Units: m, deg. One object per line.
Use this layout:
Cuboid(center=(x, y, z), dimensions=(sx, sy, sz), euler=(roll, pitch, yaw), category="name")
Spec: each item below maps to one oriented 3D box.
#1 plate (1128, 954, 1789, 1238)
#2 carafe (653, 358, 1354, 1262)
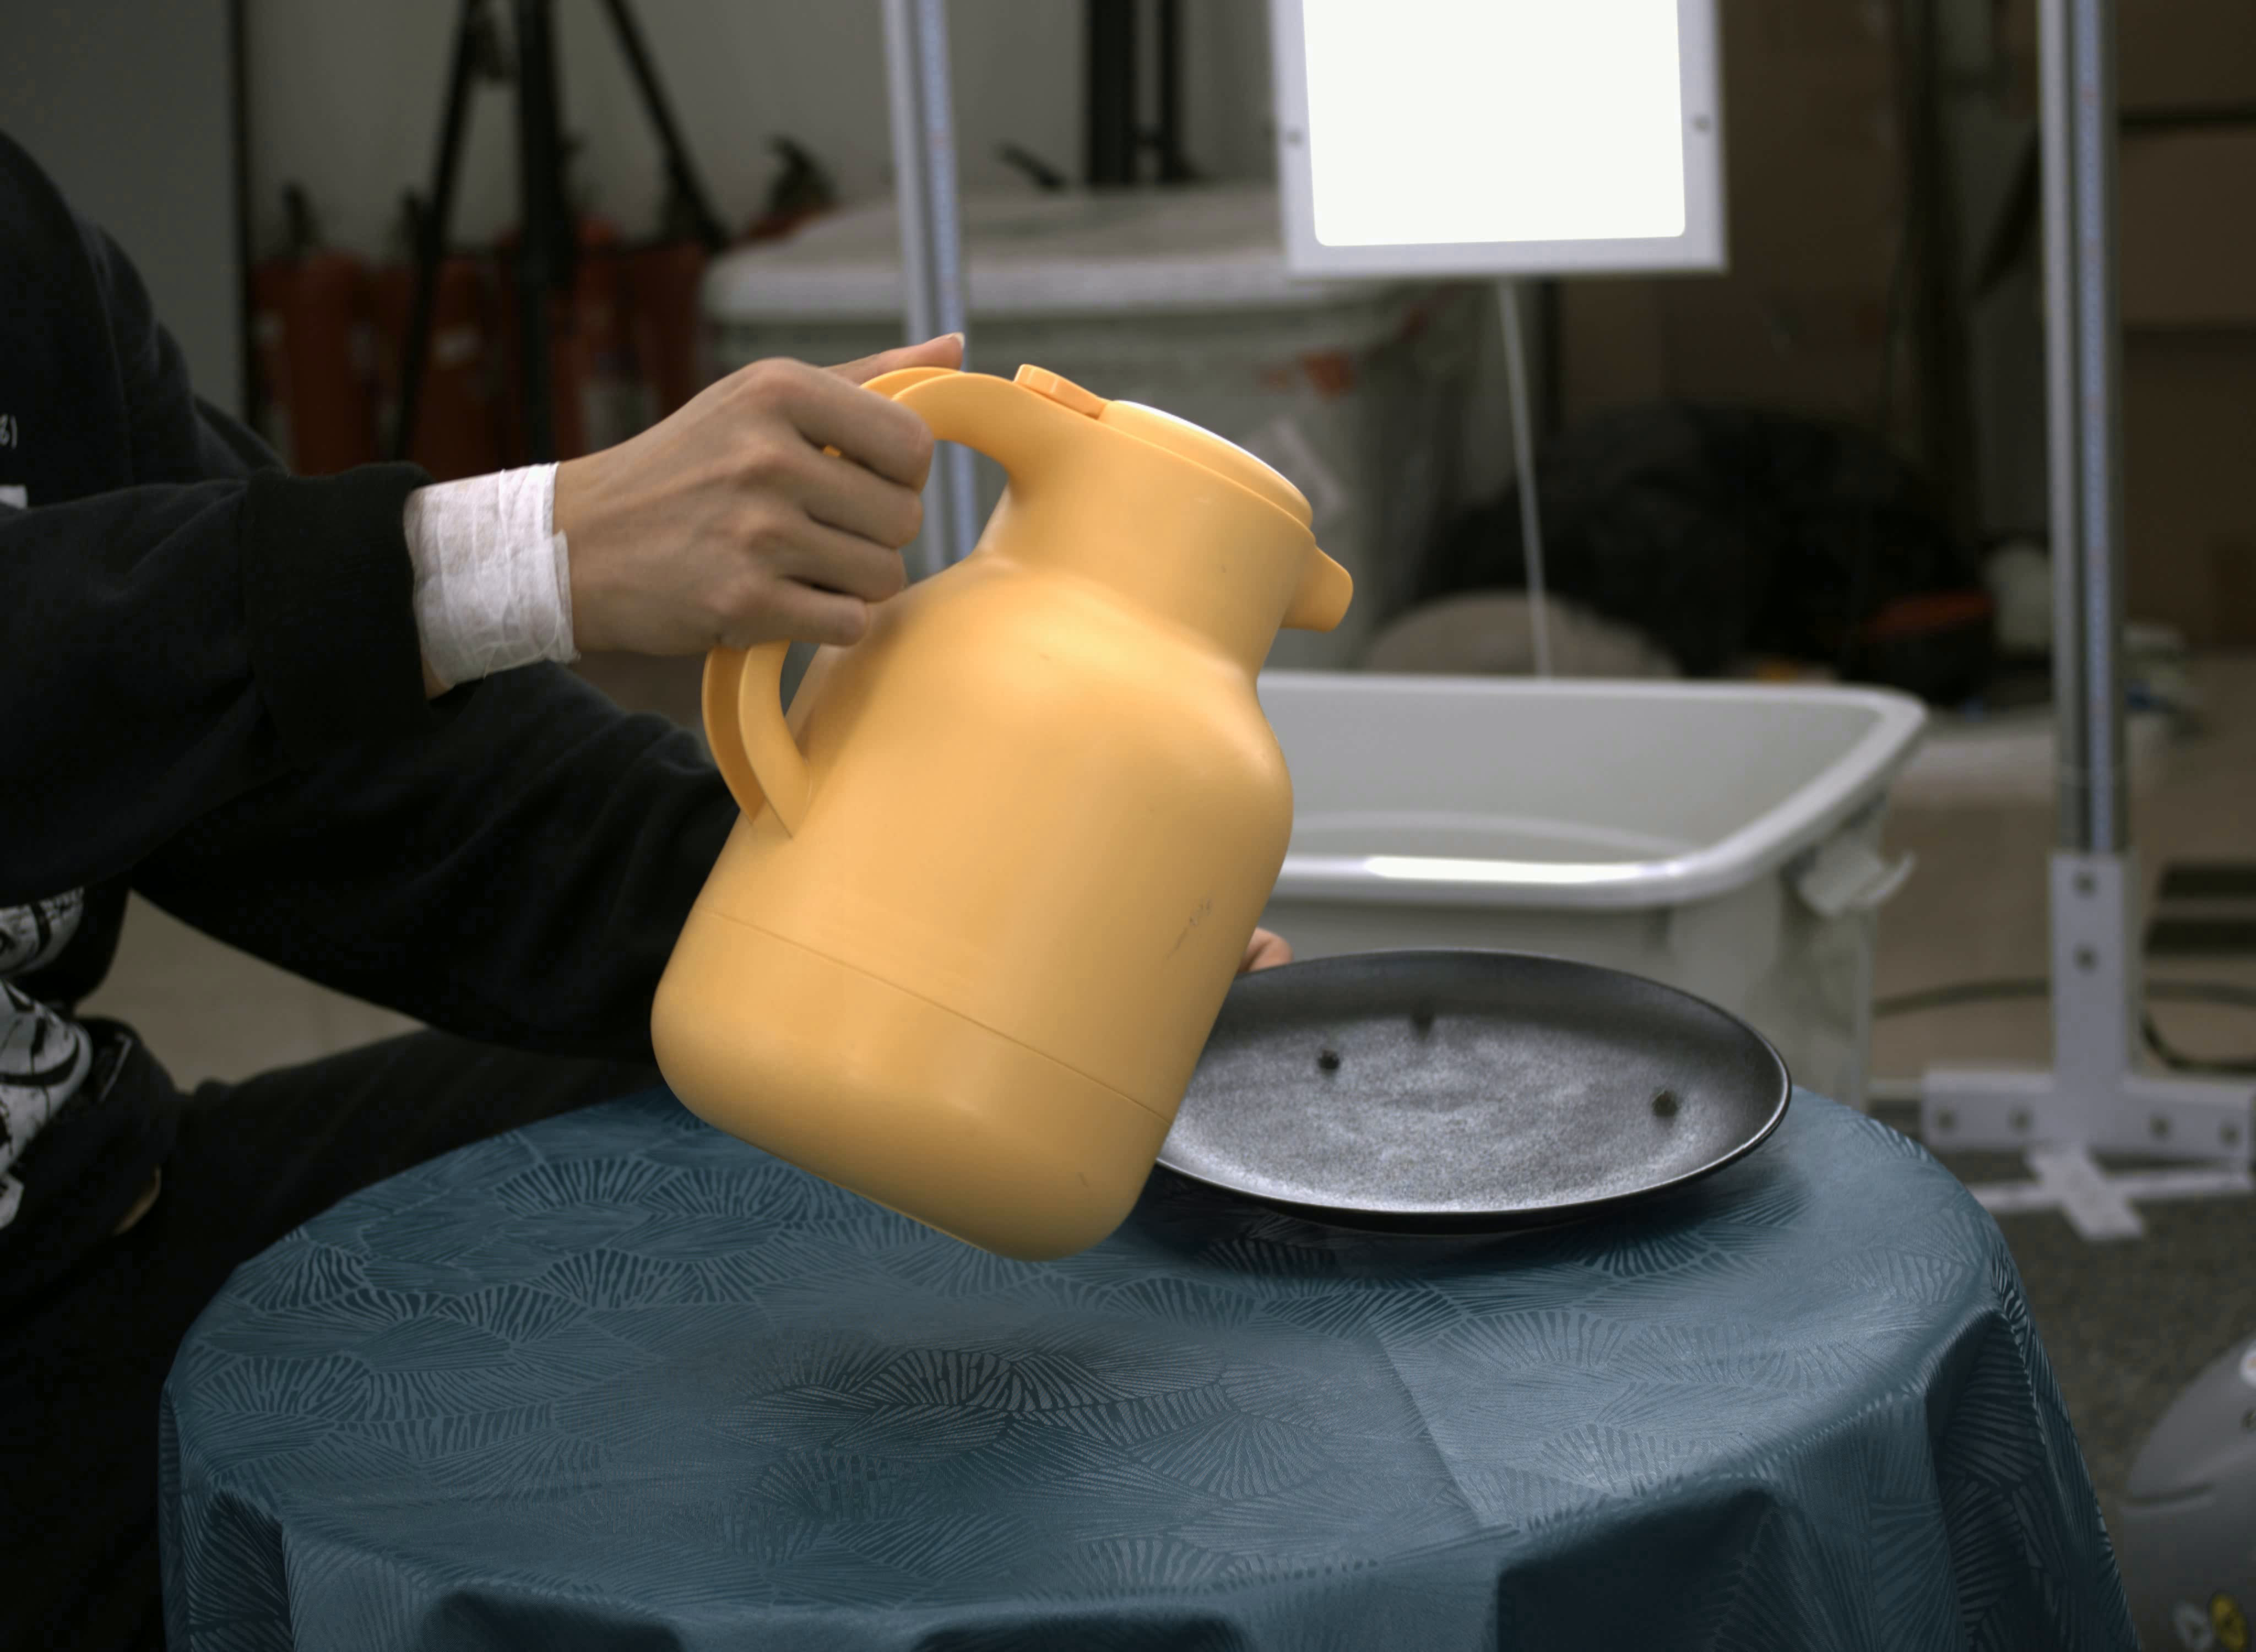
Cuboid(center=(0.106, 0.096, 1.895), dimensions=(0.243, 0.023, 0.244), euler=(-2, 19, -1), category="plate")
Cuboid(center=(-0.047, -0.014, 1.699), dimensions=(0.199, 0.260, 0.166), euler=(28, -8, -29), category="carafe")
